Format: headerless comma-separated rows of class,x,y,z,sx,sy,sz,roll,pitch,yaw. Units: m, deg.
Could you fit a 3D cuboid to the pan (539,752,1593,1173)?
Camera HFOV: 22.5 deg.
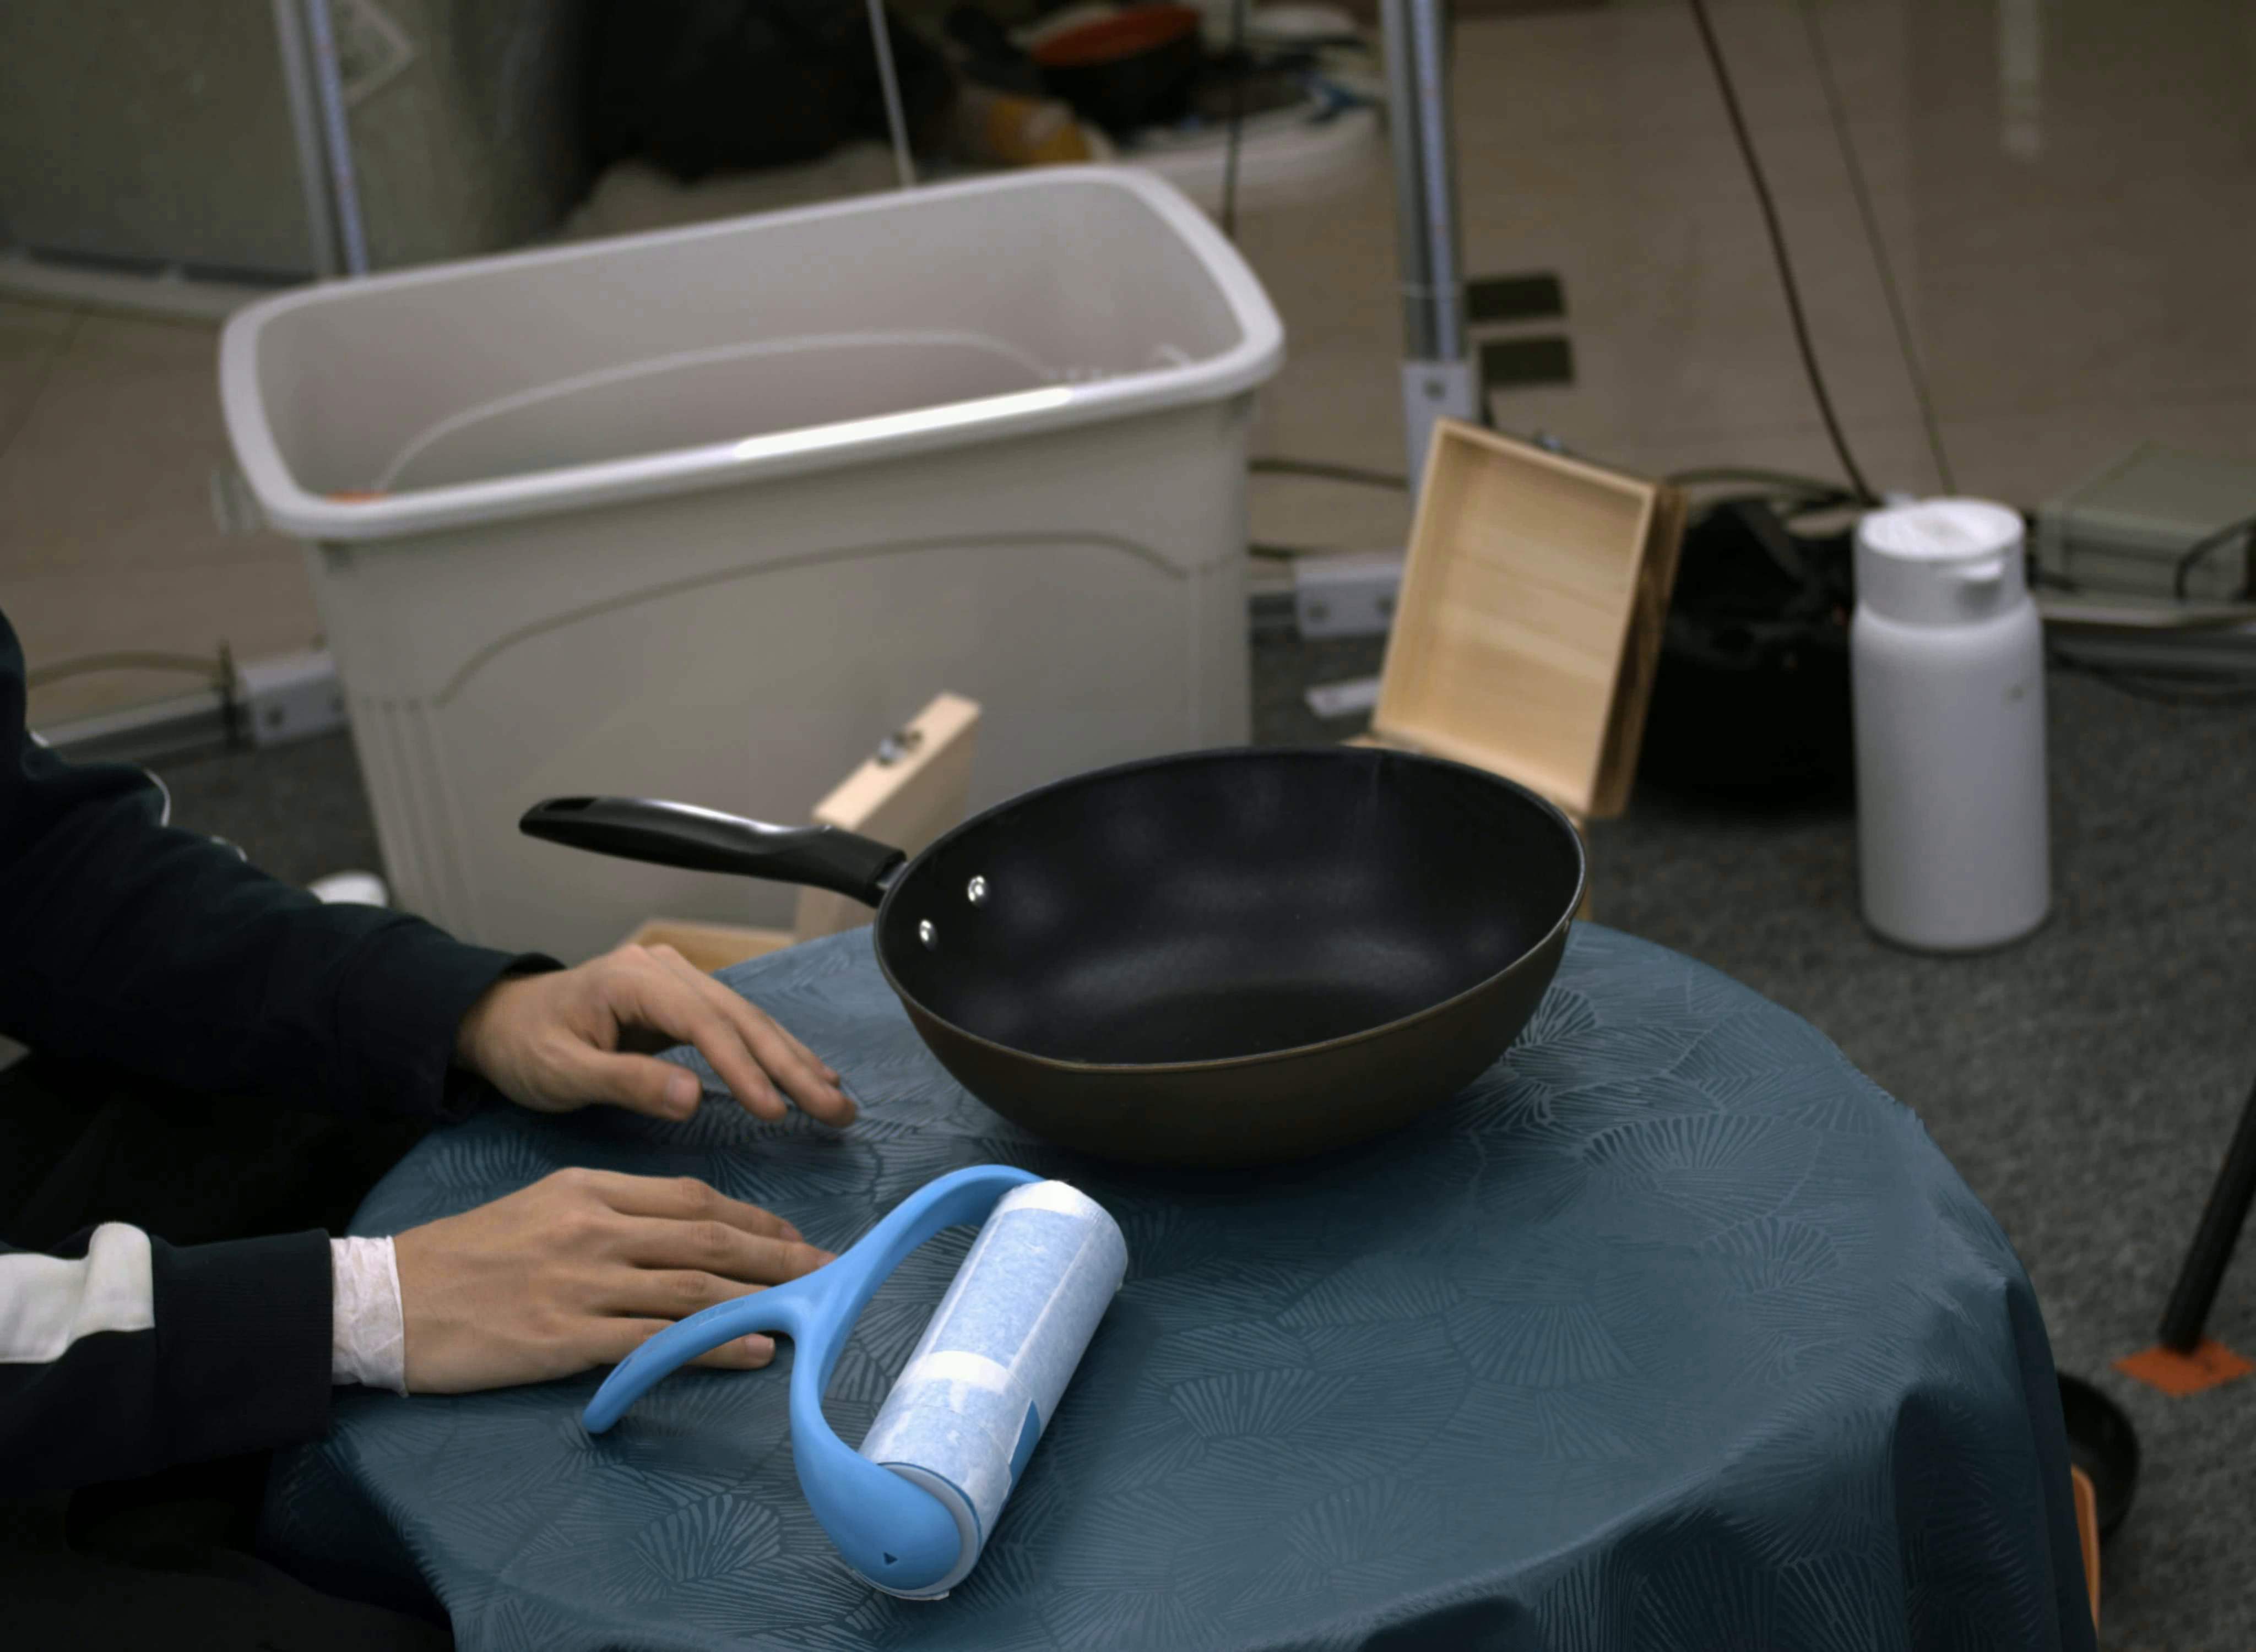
pan,-0.036,0.052,2.242,0.461,0.088,0.284,7,27,28

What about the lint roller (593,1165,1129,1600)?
lint roller,-0.105,0.192,1.989,0.180,0.069,0.225,1,28,12
